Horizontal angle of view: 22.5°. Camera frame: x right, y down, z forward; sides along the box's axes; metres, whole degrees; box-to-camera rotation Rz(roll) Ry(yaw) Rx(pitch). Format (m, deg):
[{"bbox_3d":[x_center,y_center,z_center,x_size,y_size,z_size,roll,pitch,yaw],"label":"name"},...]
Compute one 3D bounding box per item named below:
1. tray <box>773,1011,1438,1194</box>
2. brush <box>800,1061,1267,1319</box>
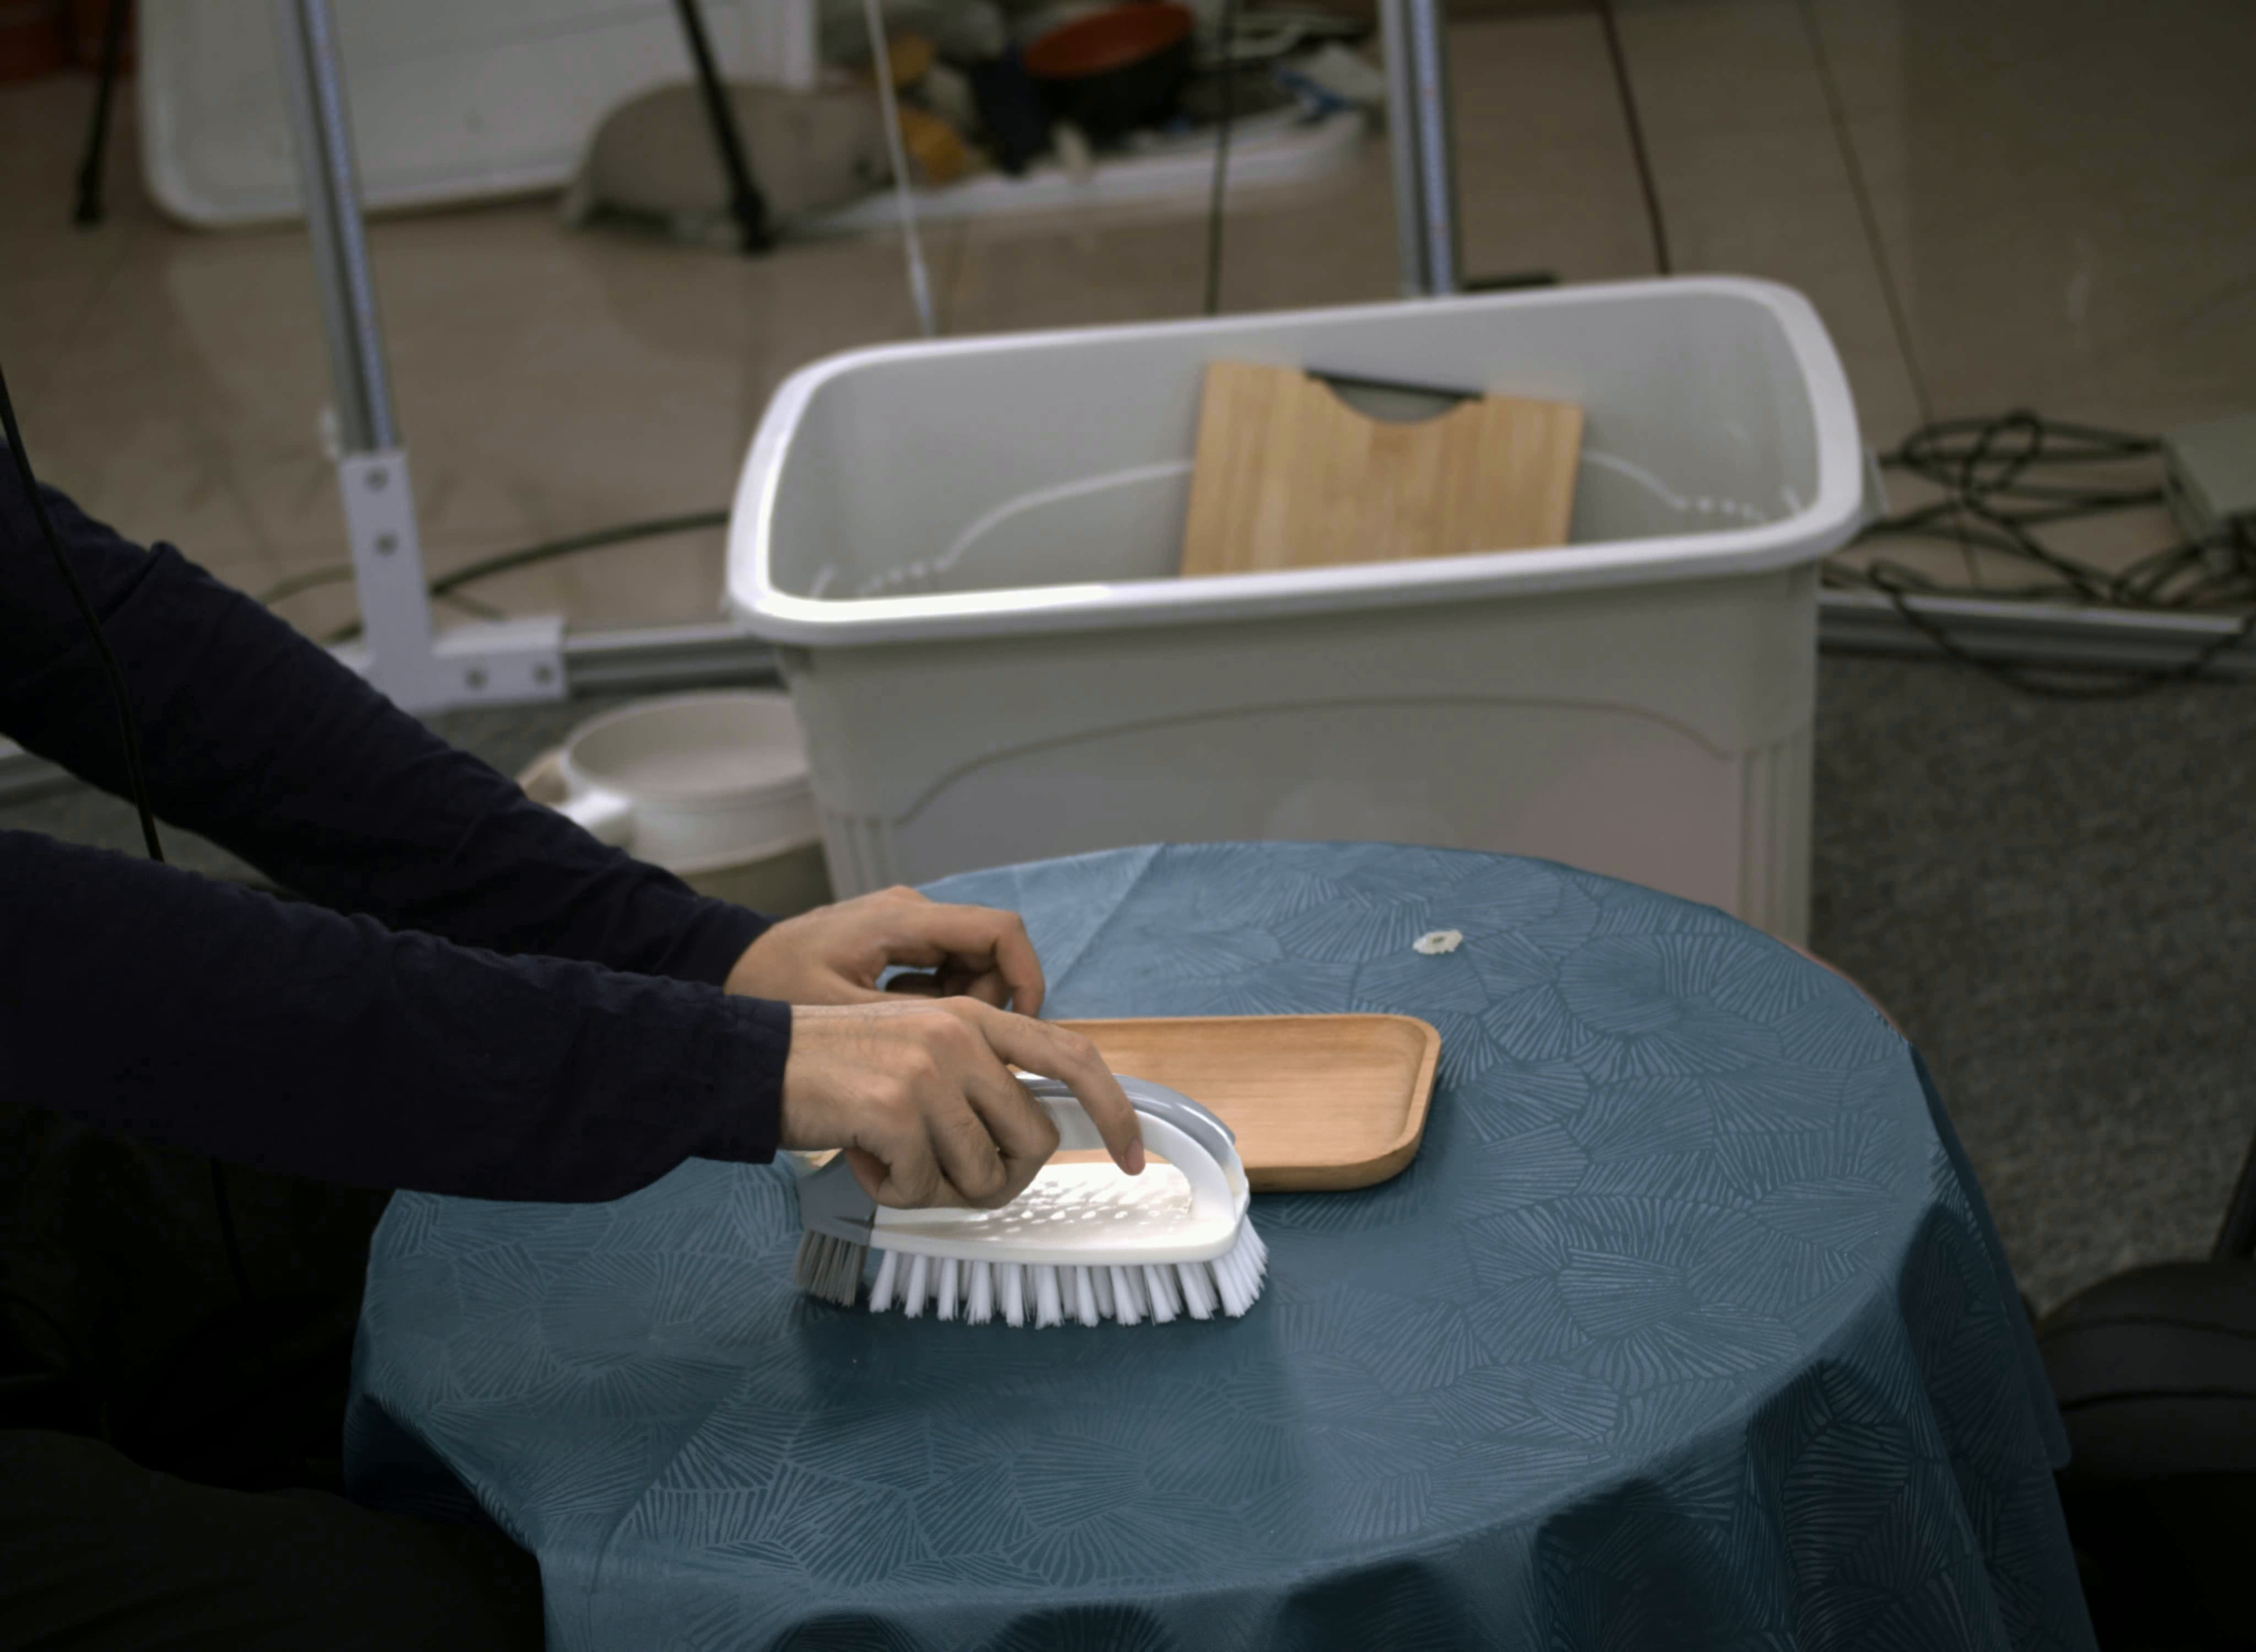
[{"bbox_3d":[-0.008,0.108,2.196,0.250,0.023,0.129,-2,23,13],"label":"tray"},{"bbox_3d":[-0.041,0.131,2.064,0.175,0.096,0.060,-2,26,14],"label":"brush"}]
